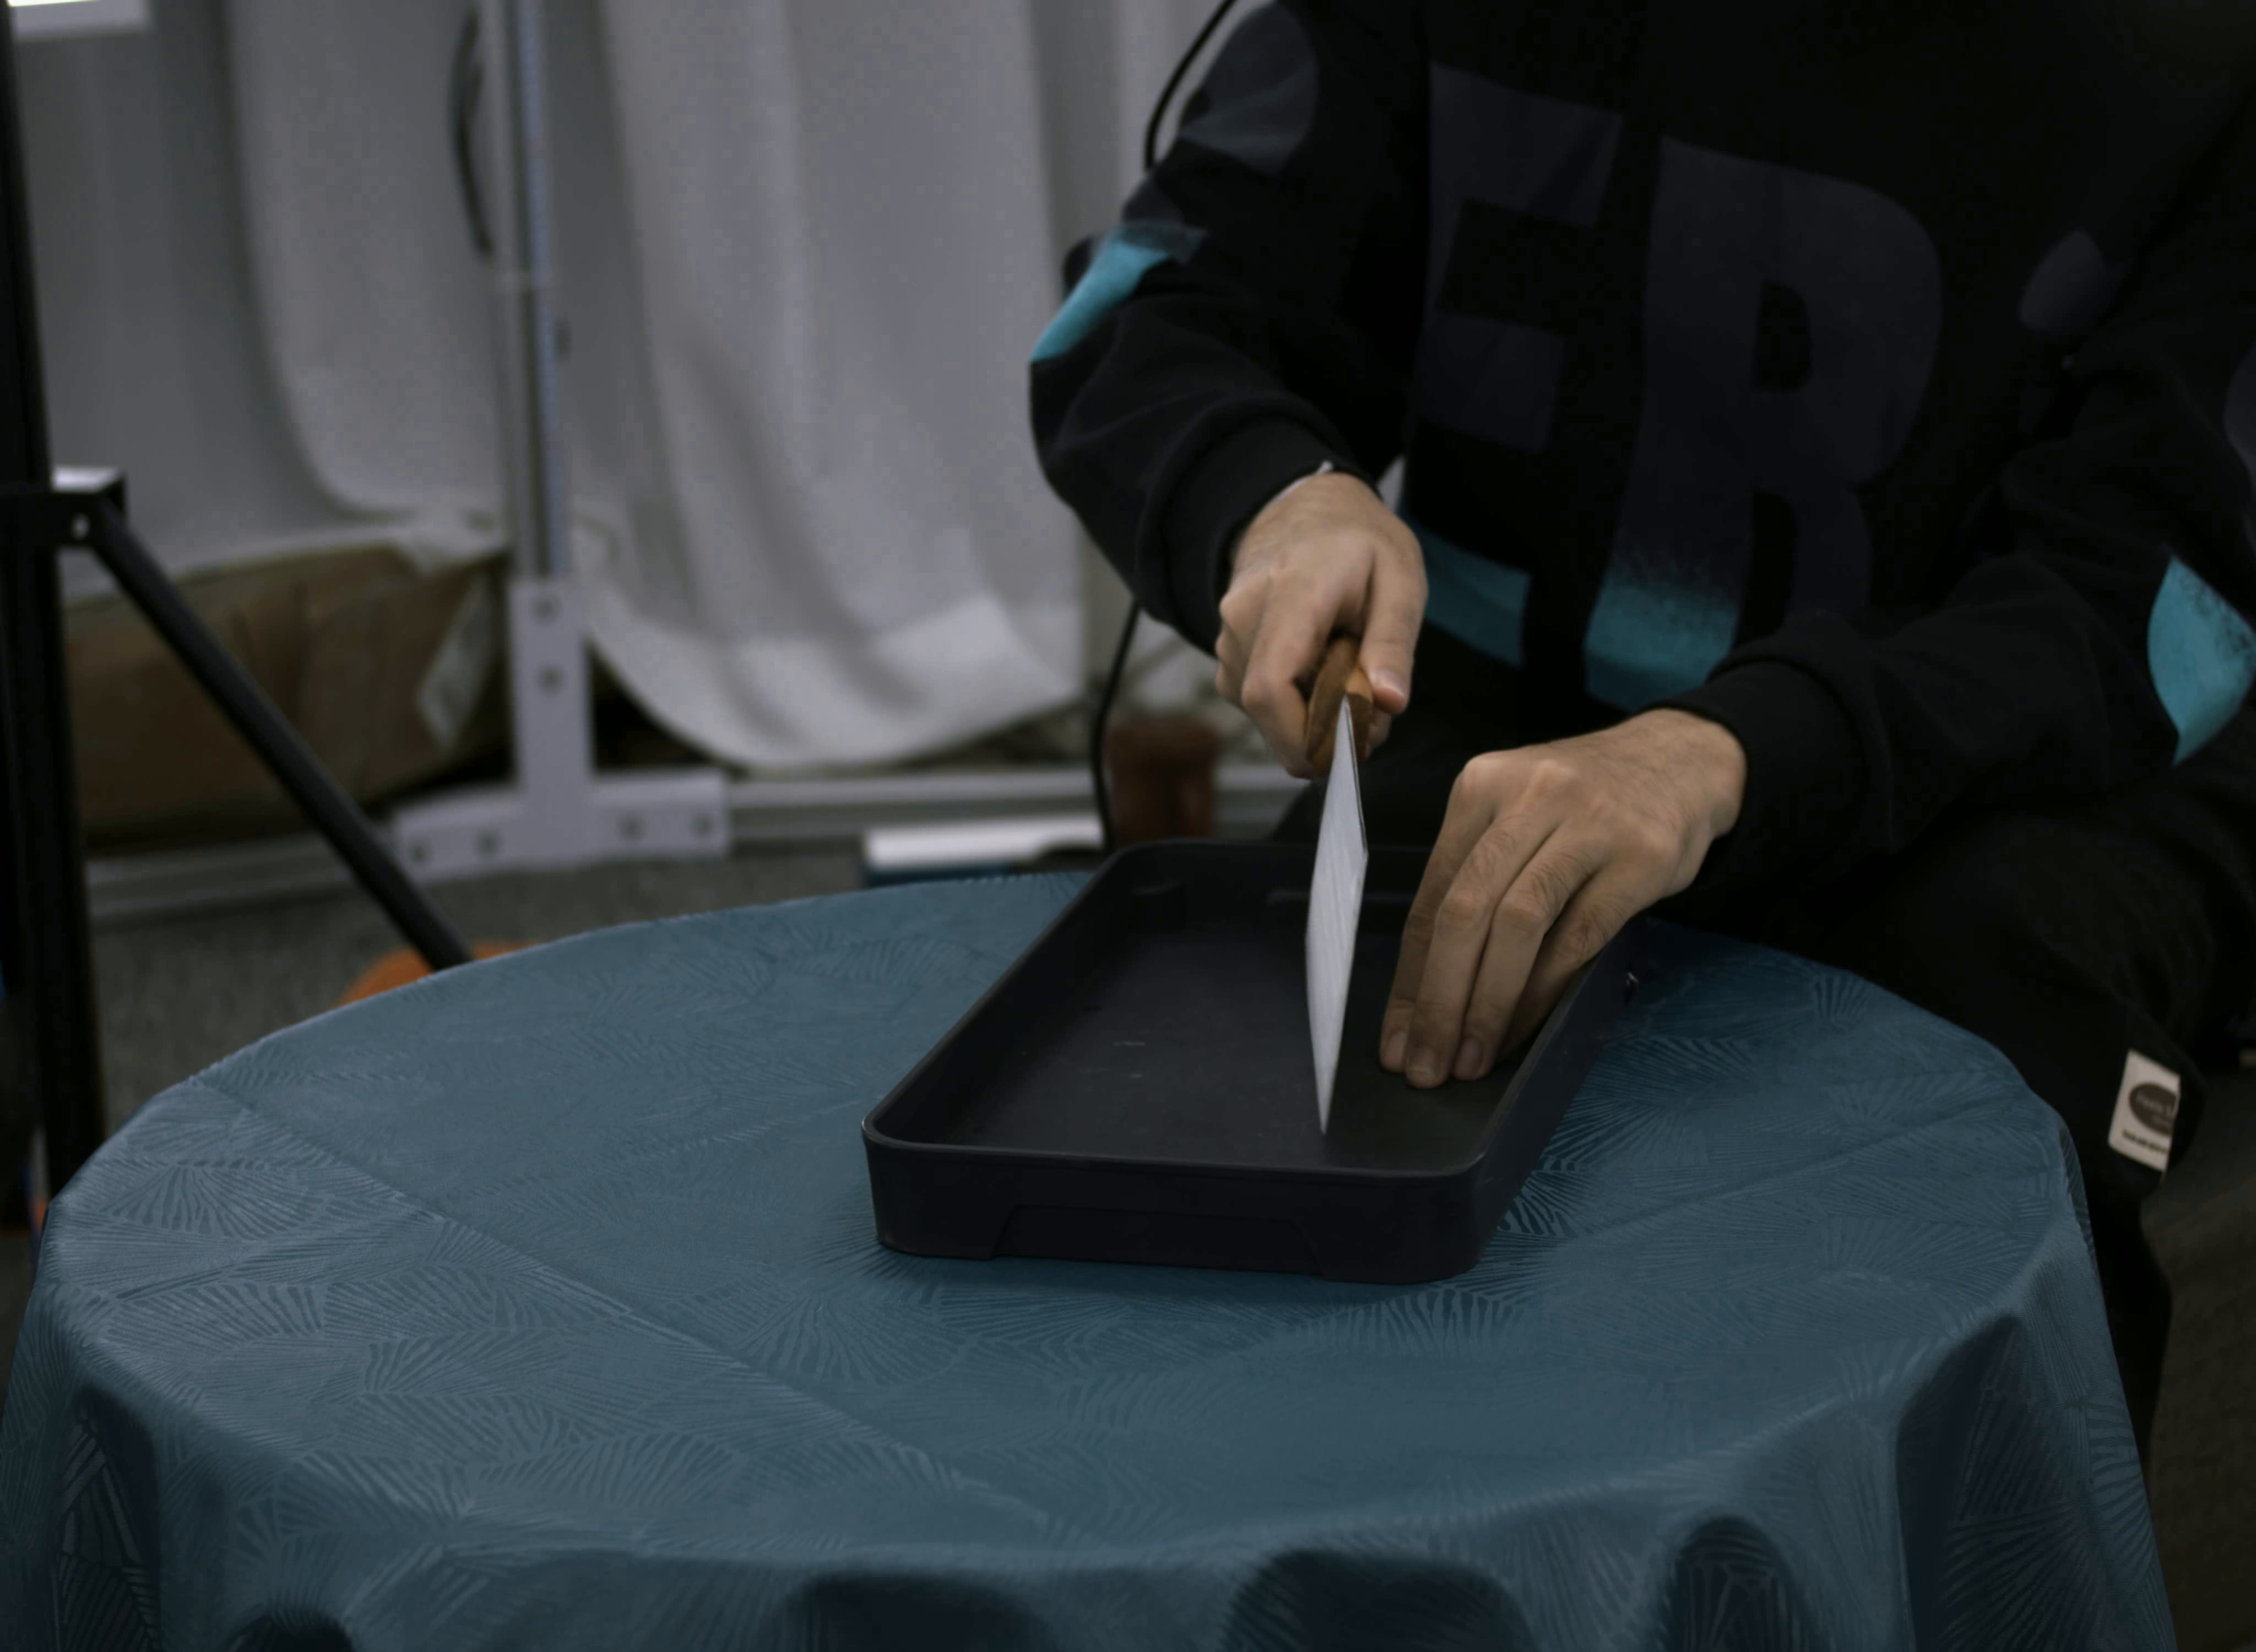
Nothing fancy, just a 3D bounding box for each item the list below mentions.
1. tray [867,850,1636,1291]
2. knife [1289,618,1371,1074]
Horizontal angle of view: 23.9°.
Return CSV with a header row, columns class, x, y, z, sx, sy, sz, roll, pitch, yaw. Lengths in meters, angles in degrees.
class,x,y,z,sx,sy,sz,roll,pitch,yaw
tray,0.046,0.069,1.624,0.185,0.037,0.315,1,16,14
knife,0.063,0.005,1.698,0.021,0.093,0.307,8,16,-2
